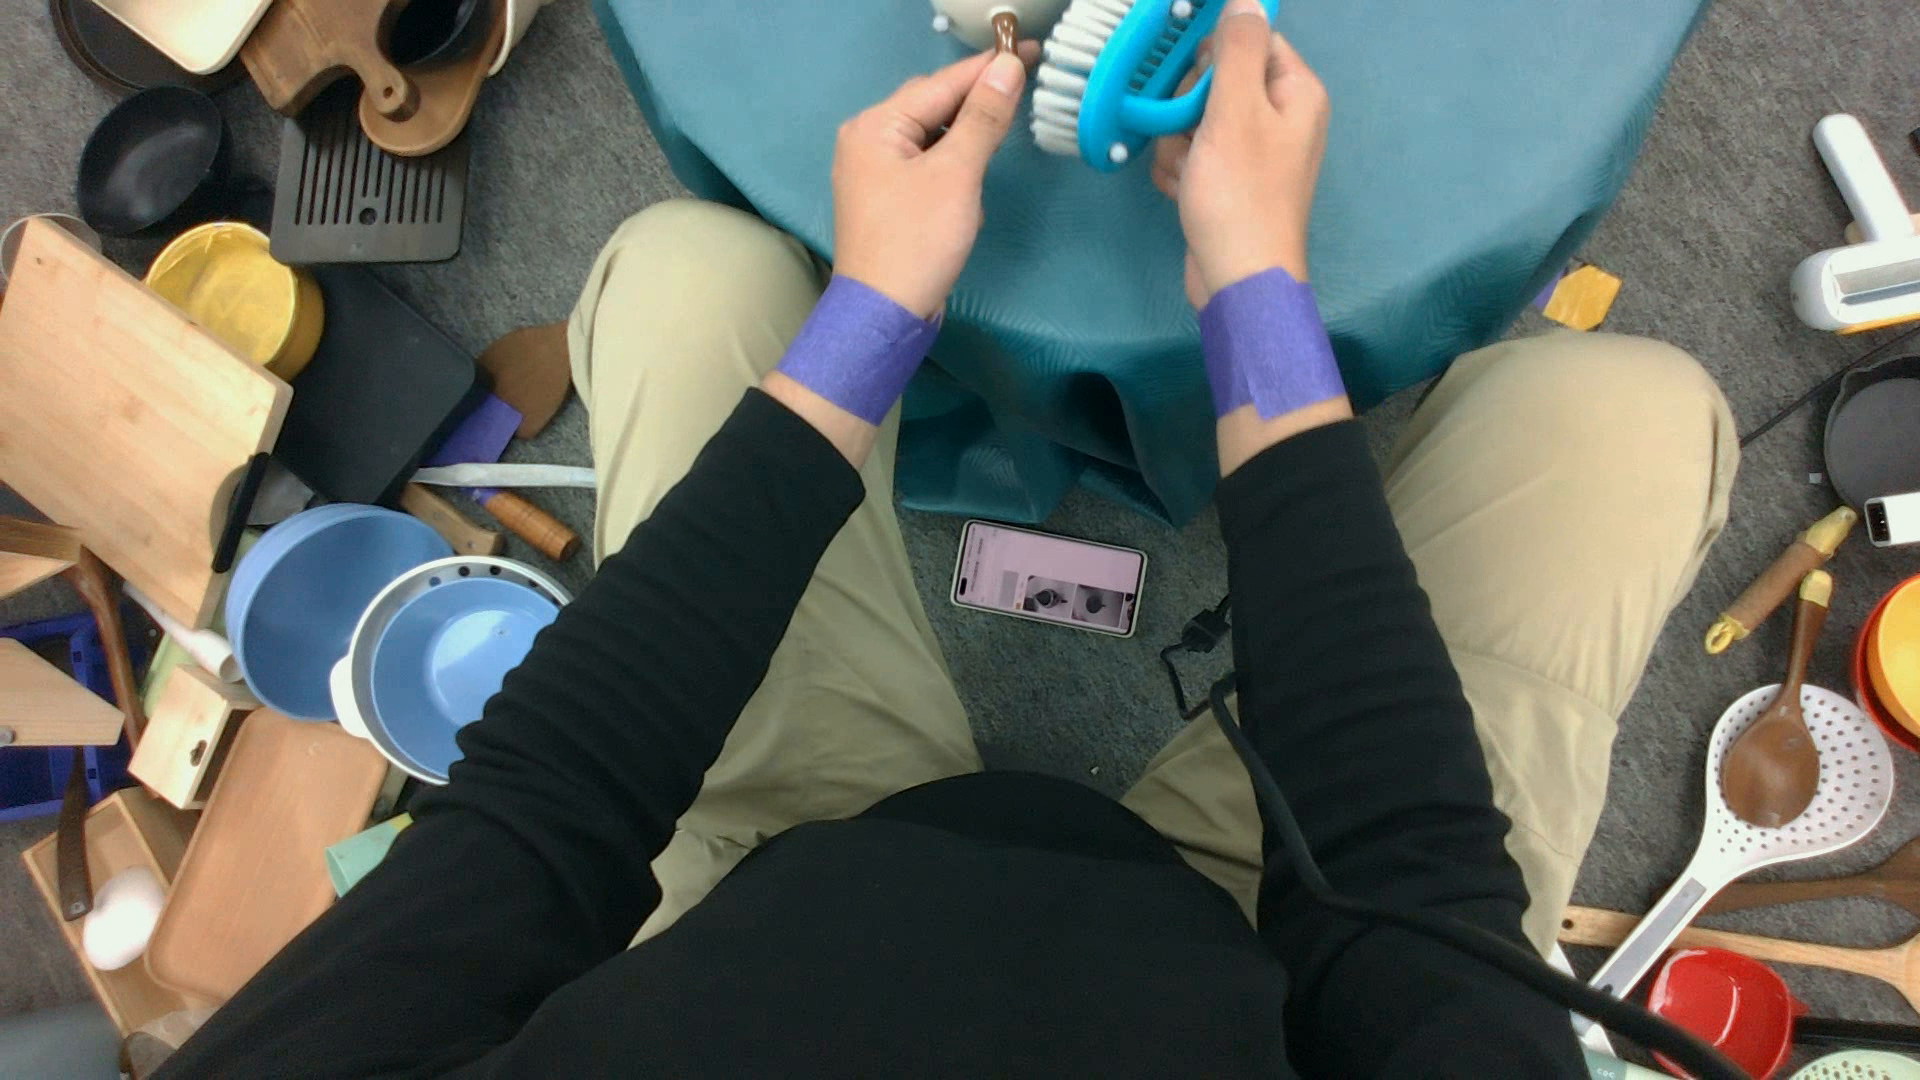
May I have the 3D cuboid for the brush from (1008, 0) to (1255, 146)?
[{"bbox_3d":[0.087,-0.230,0.610,0.064,0.084,0.142,34,74,18],"label":"brush"}]

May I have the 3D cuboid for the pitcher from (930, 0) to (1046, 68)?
[{"bbox_3d":[0.013,-0.275,0.651,0.076,0.088,0.119,0,84,9],"label":"pitcher"}]
